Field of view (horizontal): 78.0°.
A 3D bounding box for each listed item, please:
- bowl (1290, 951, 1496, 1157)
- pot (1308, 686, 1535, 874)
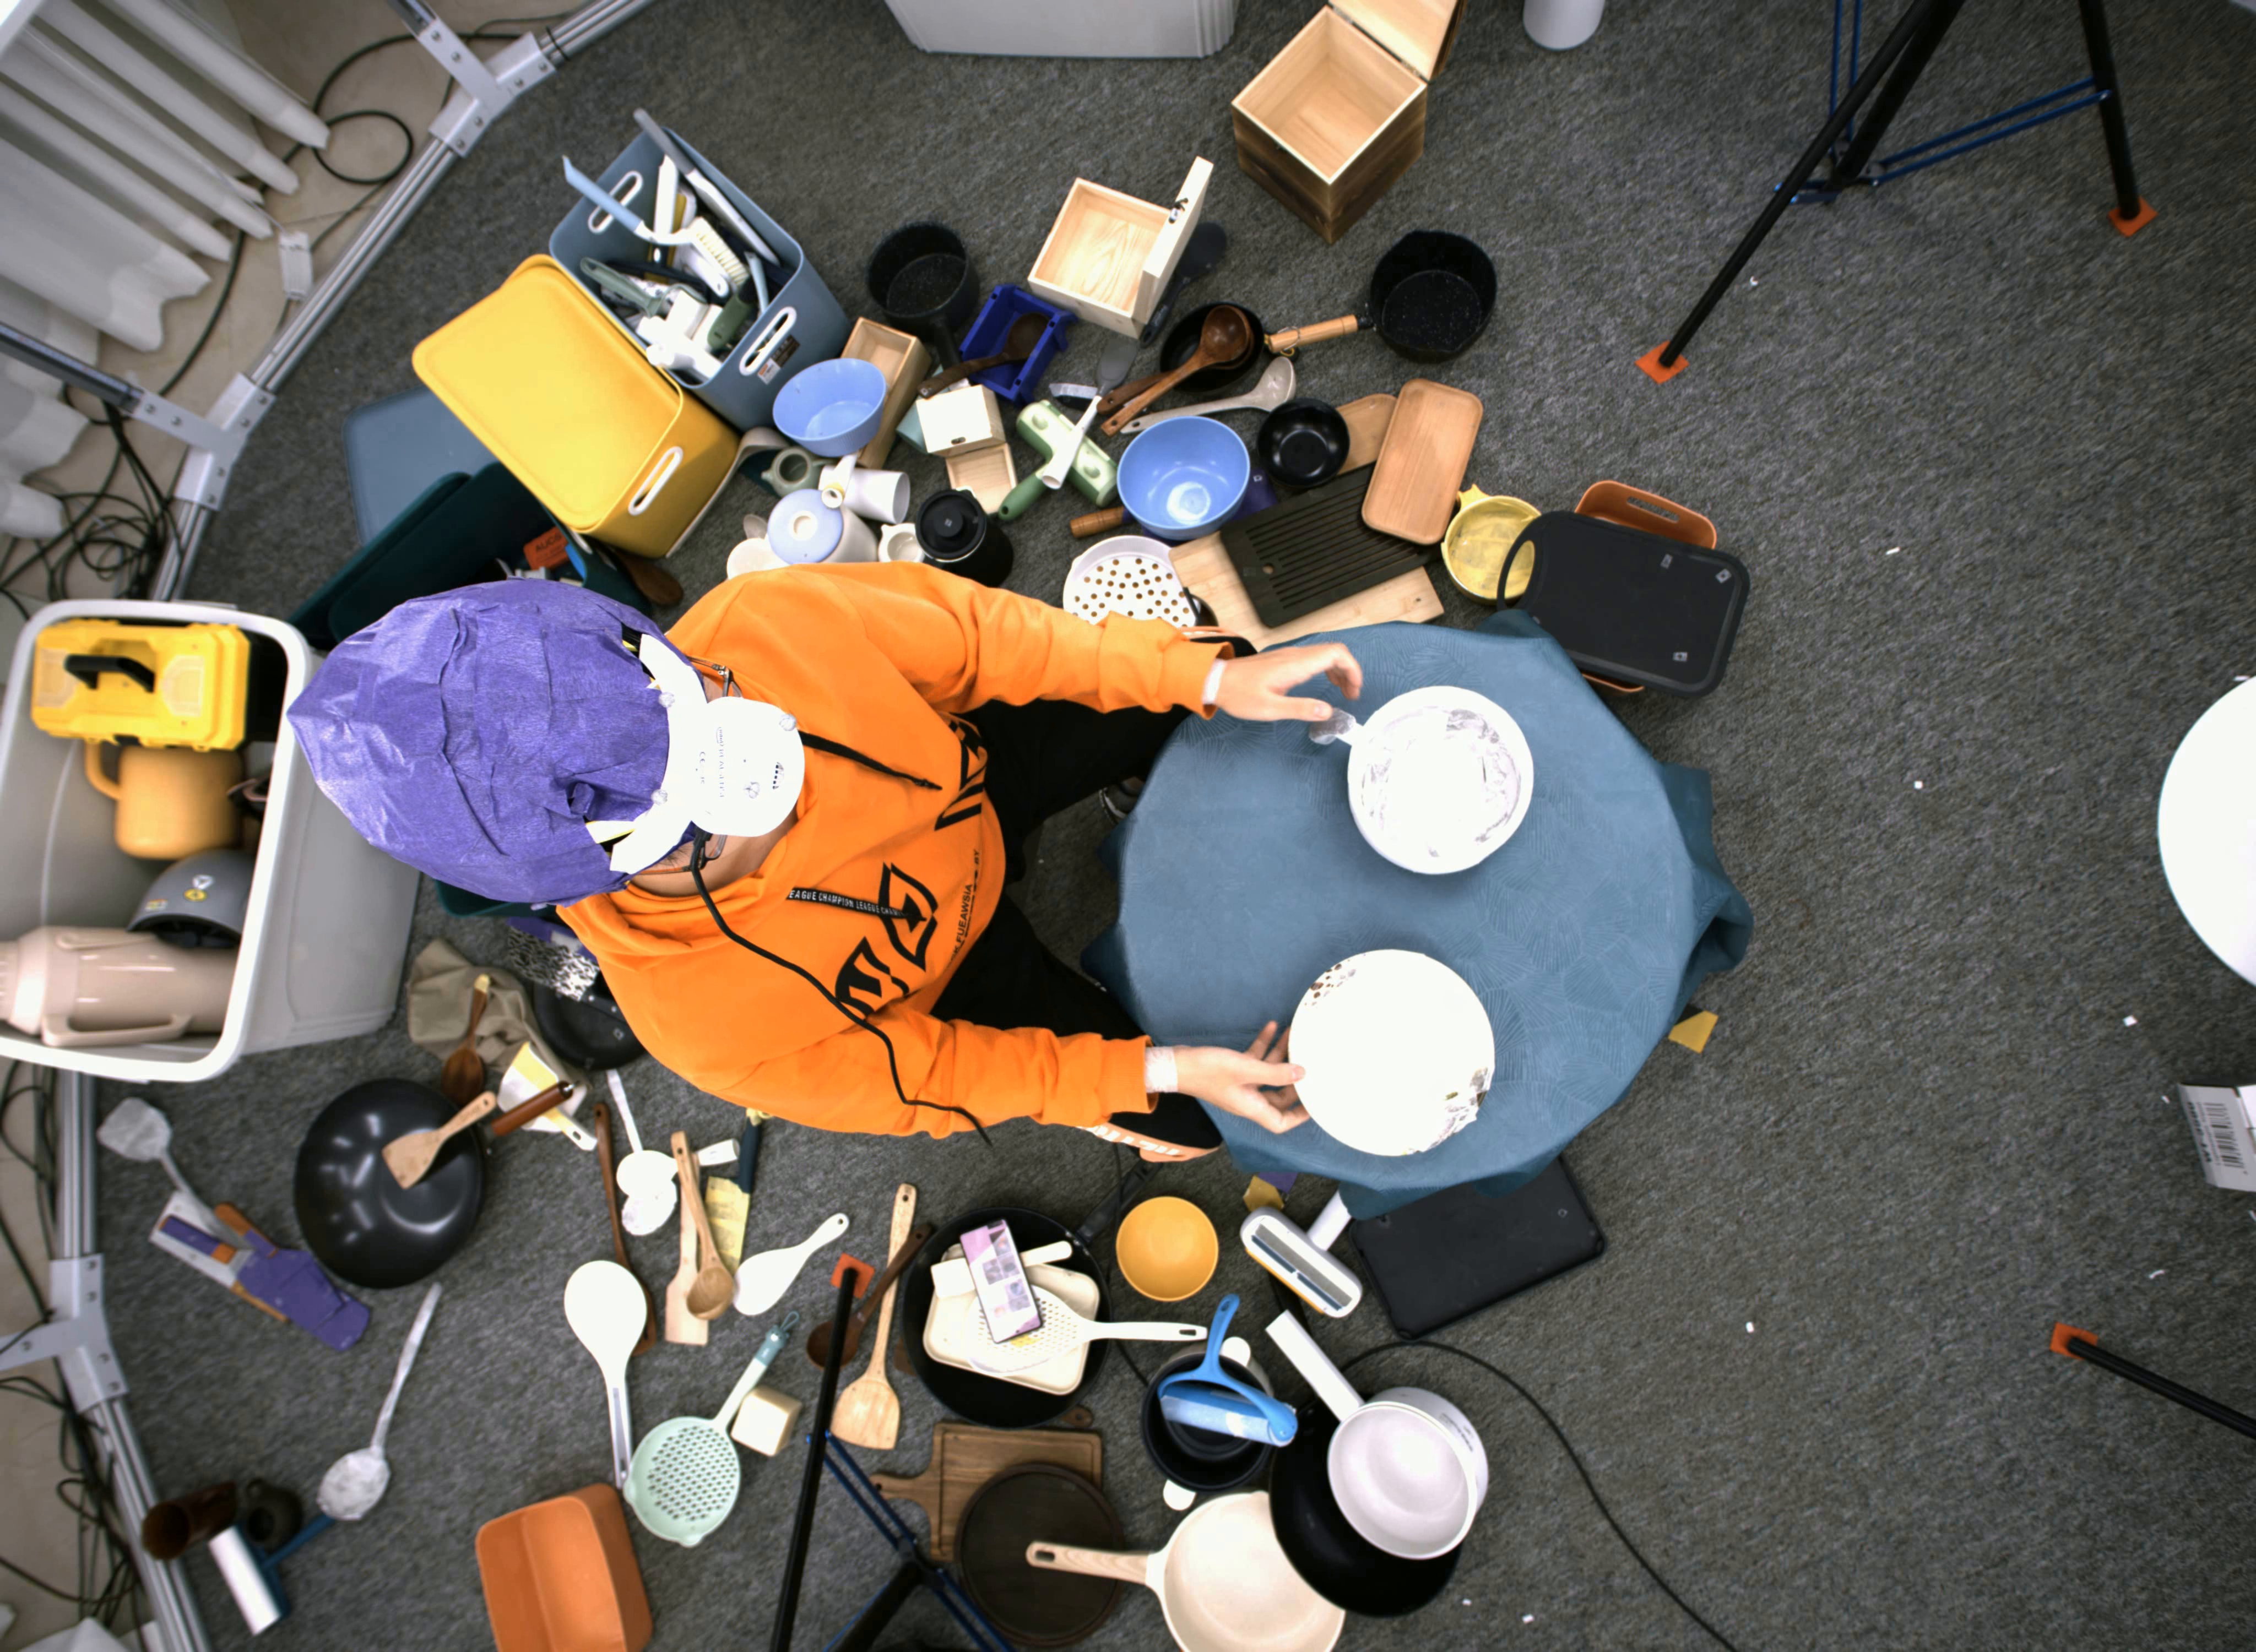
[{"bbox_3d":[0.271,0.229,1.414,0.205,0.078,0.203,-1,85,14],"label":"bowl"},{"bbox_3d":[0.288,-0.057,1.394,0.233,0.137,0.179,29,91,10],"label":"pot"}]
